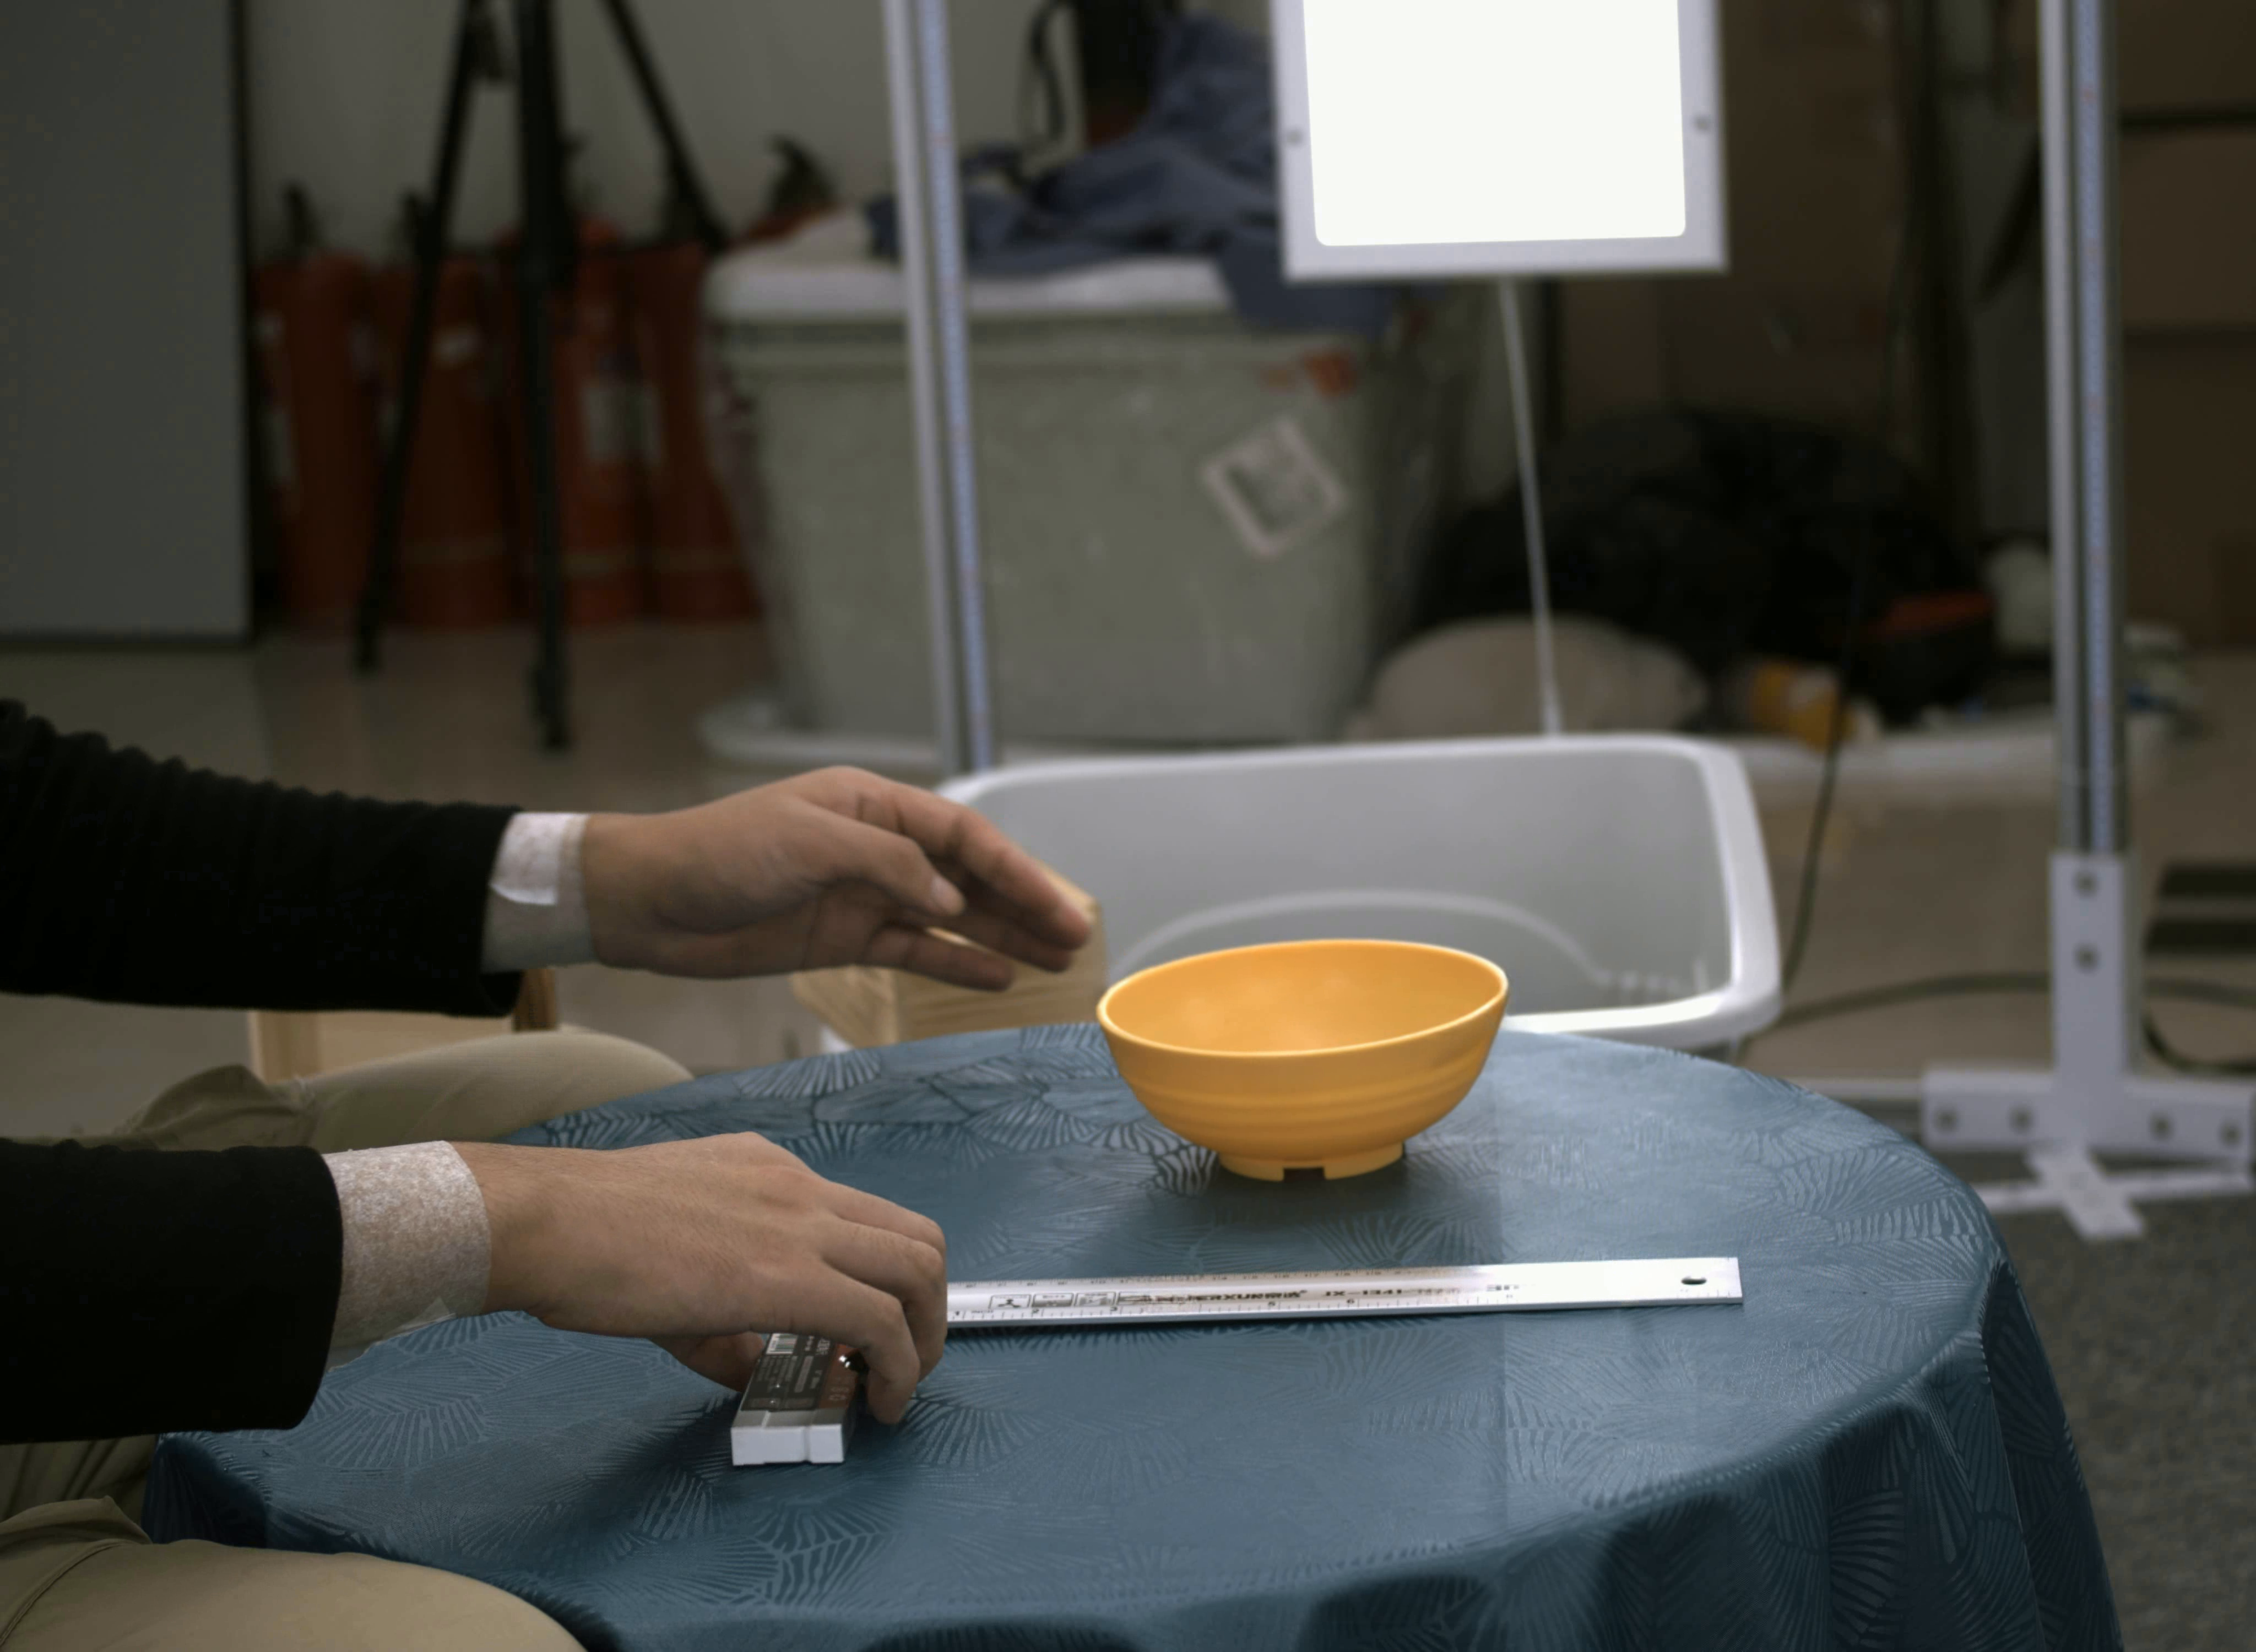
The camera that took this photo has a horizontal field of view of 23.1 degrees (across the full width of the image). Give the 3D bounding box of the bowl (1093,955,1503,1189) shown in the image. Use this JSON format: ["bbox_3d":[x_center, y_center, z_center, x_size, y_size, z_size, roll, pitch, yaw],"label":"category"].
[{"bbox_3d":[0.062,0.089,1.914,0.145,0.060,0.145,-7,11,0],"label":"bowl"}]

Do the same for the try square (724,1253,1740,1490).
[{"bbox_3d":[0.037,0.167,1.718,0.314,0.016,0.151,-2,18,7],"label":"try square"}]
